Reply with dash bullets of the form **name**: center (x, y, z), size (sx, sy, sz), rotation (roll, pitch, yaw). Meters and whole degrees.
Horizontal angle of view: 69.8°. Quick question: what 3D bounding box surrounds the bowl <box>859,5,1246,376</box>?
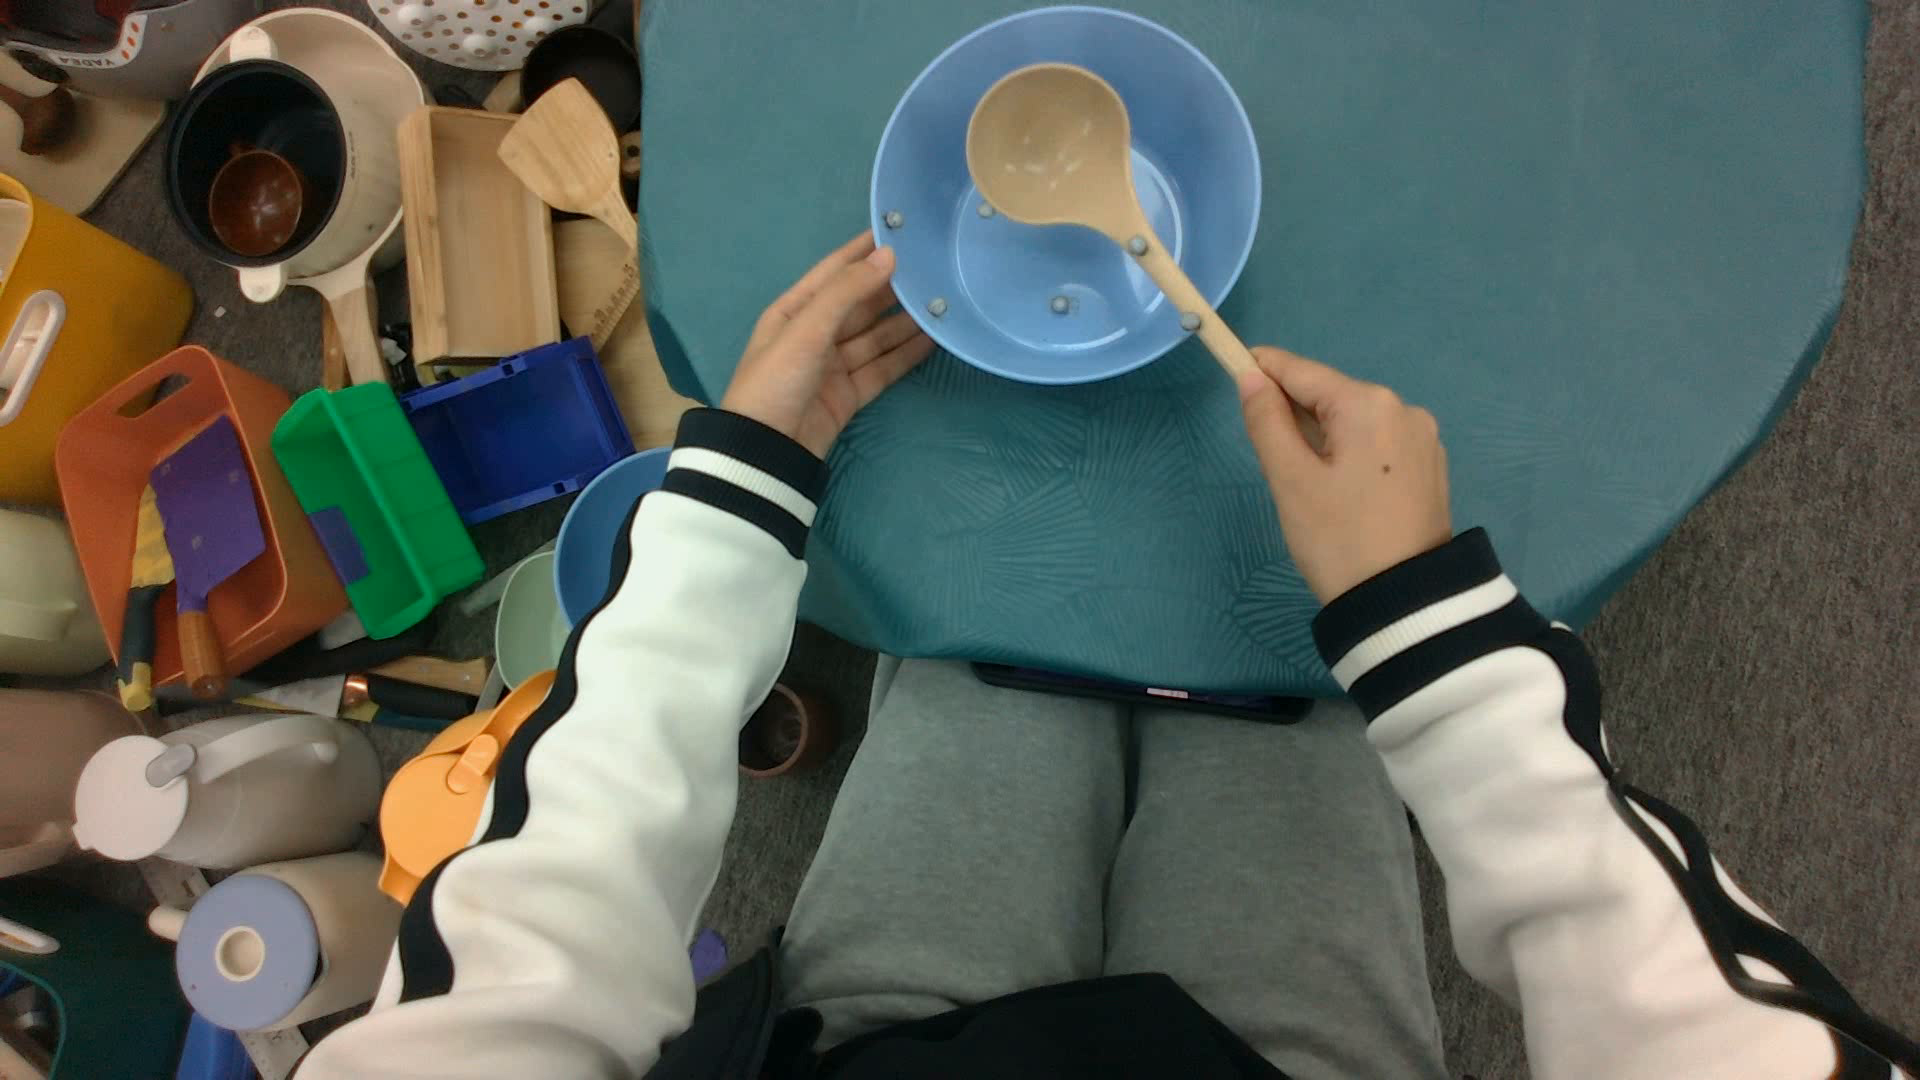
- **bowl**: center (0.044, -0.155, 0.653), size (0.176, 0.070, 0.176), rotation (-1, 81, 7)

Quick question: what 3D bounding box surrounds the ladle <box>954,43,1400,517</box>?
- **ladle**: center (0.085, -0.110, 0.561), size (0.072, 0.073, 0.255), rotation (-42, 63, 8)
